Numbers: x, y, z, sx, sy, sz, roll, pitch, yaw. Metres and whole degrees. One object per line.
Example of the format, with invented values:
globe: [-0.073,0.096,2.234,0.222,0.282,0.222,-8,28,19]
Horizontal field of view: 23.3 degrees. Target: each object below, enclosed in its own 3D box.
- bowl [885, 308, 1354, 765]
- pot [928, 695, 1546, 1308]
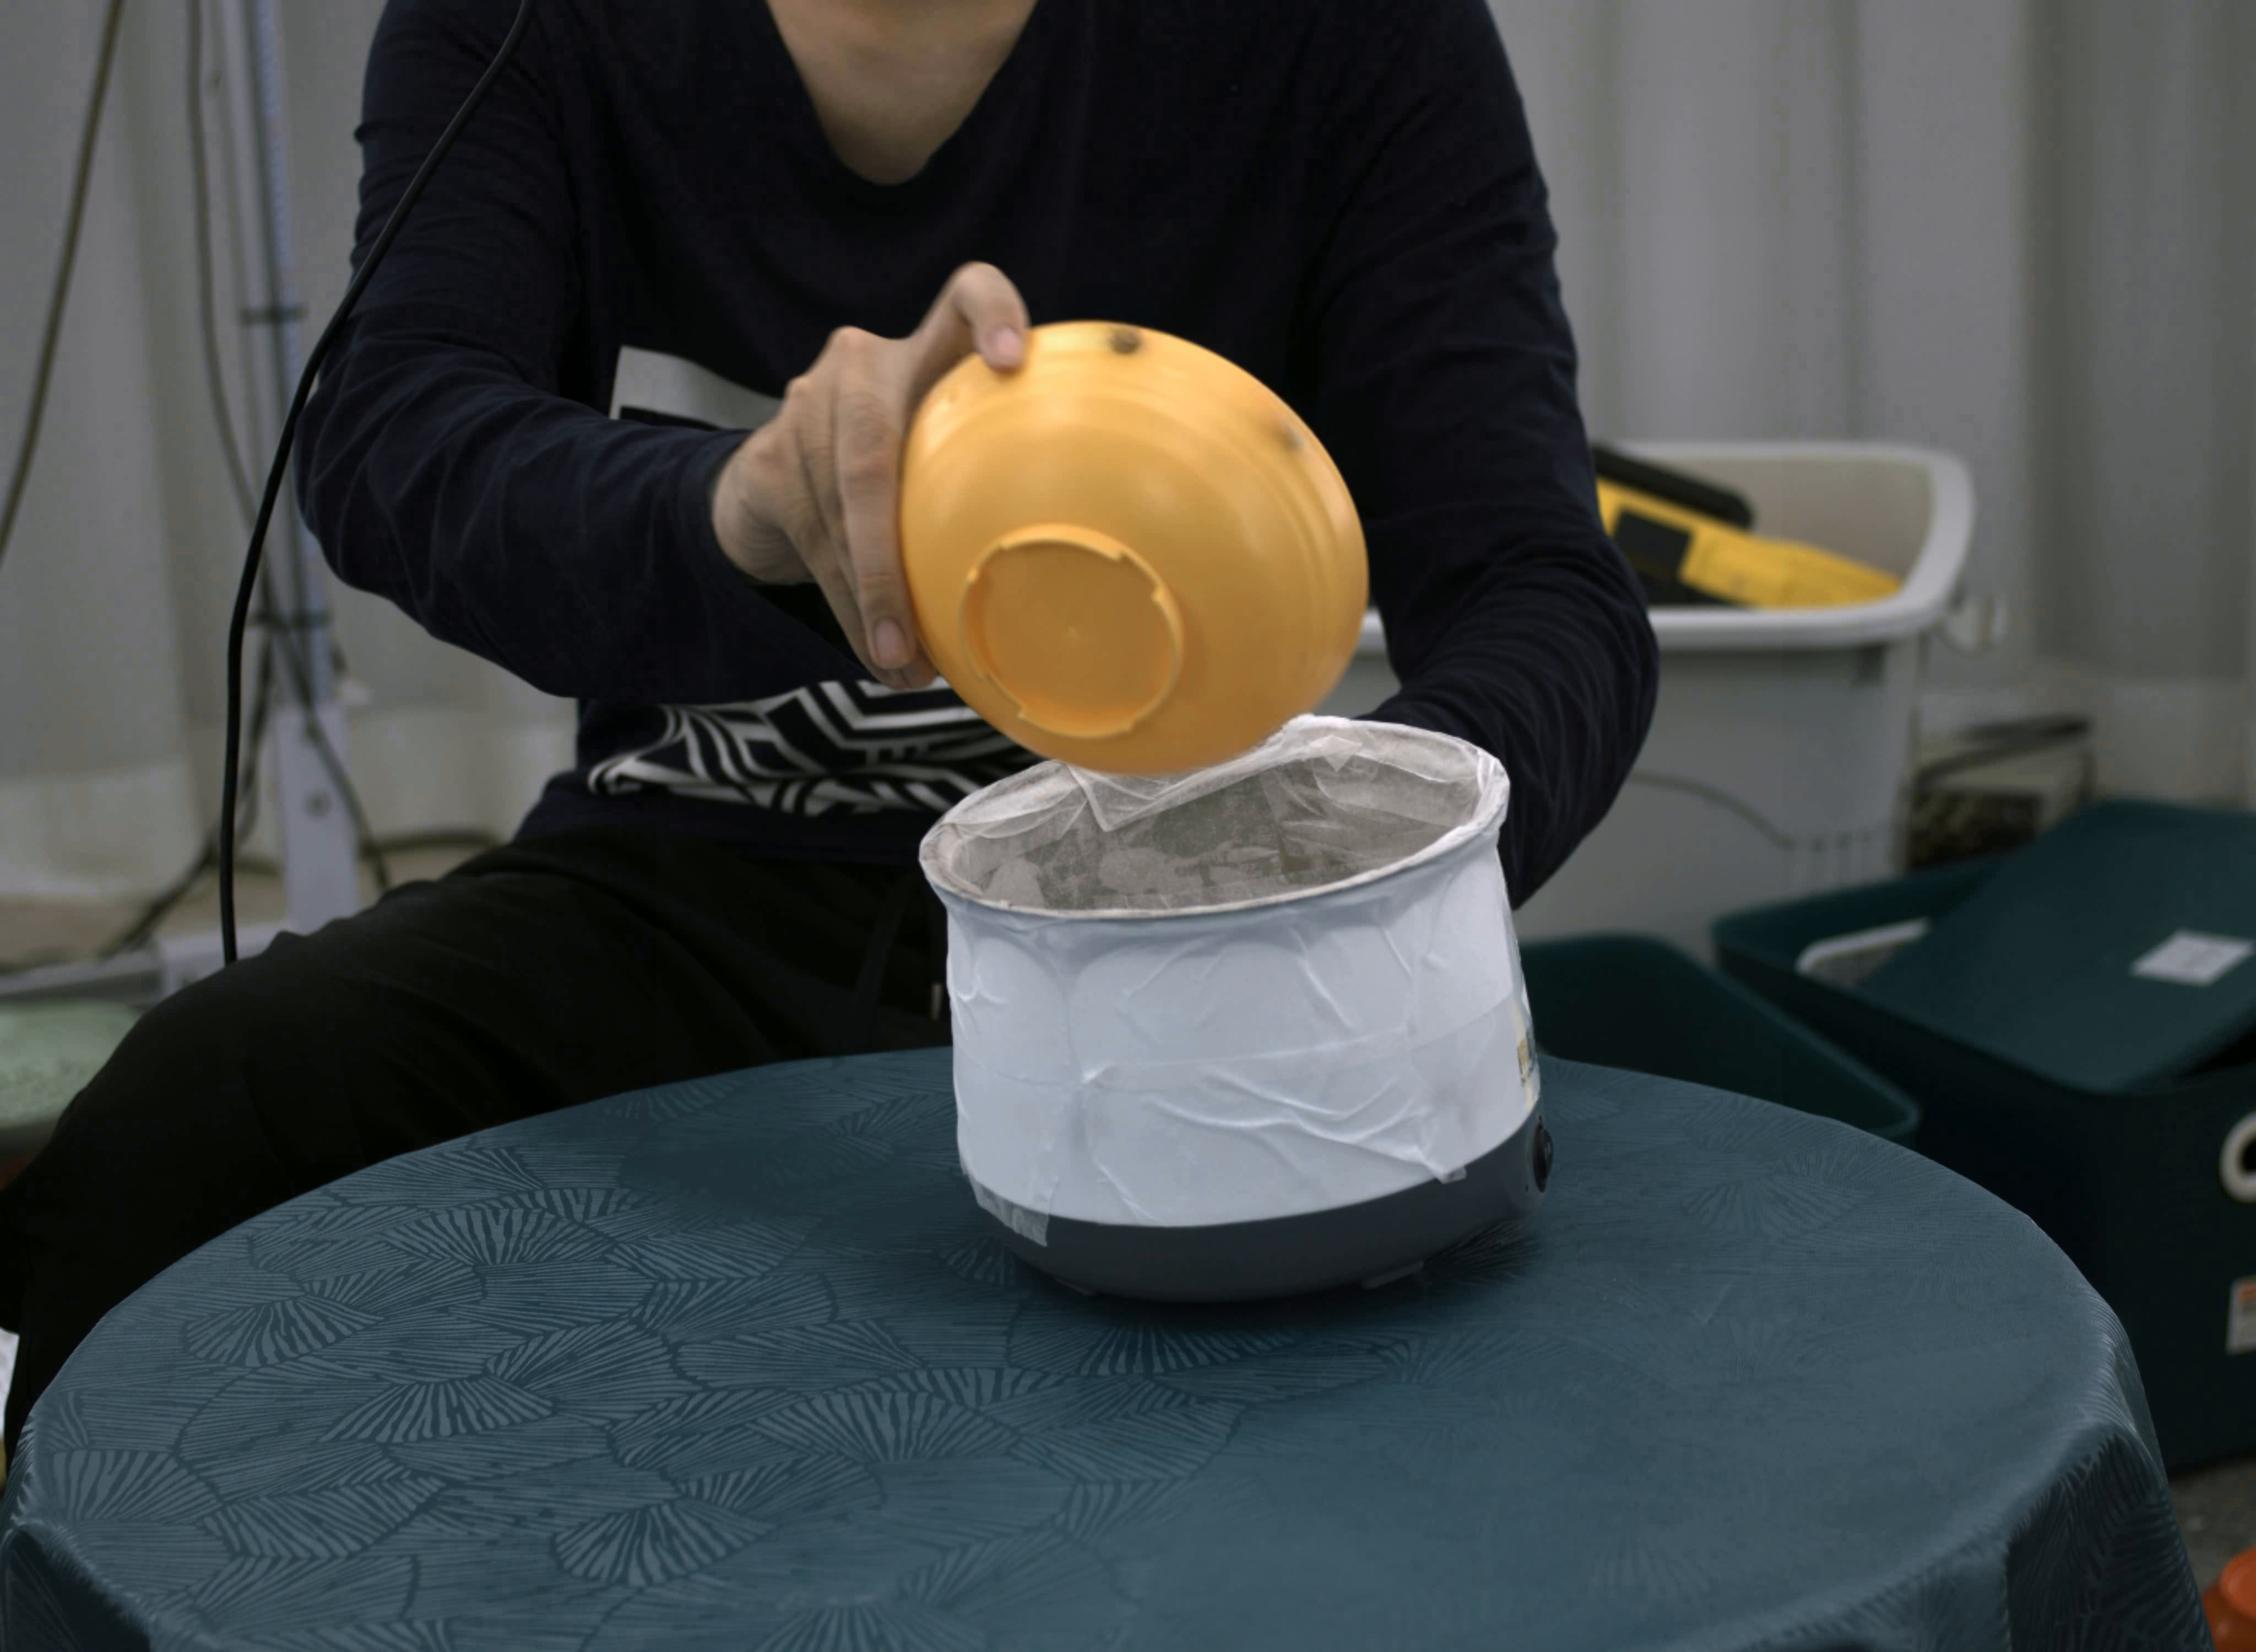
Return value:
bowl: [-0.012,-0.071,1.575,0.145,0.144,0.060,3,31,22]
pot: [0.039,0.047,1.668,0.178,0.136,0.235,-1,19,12]
